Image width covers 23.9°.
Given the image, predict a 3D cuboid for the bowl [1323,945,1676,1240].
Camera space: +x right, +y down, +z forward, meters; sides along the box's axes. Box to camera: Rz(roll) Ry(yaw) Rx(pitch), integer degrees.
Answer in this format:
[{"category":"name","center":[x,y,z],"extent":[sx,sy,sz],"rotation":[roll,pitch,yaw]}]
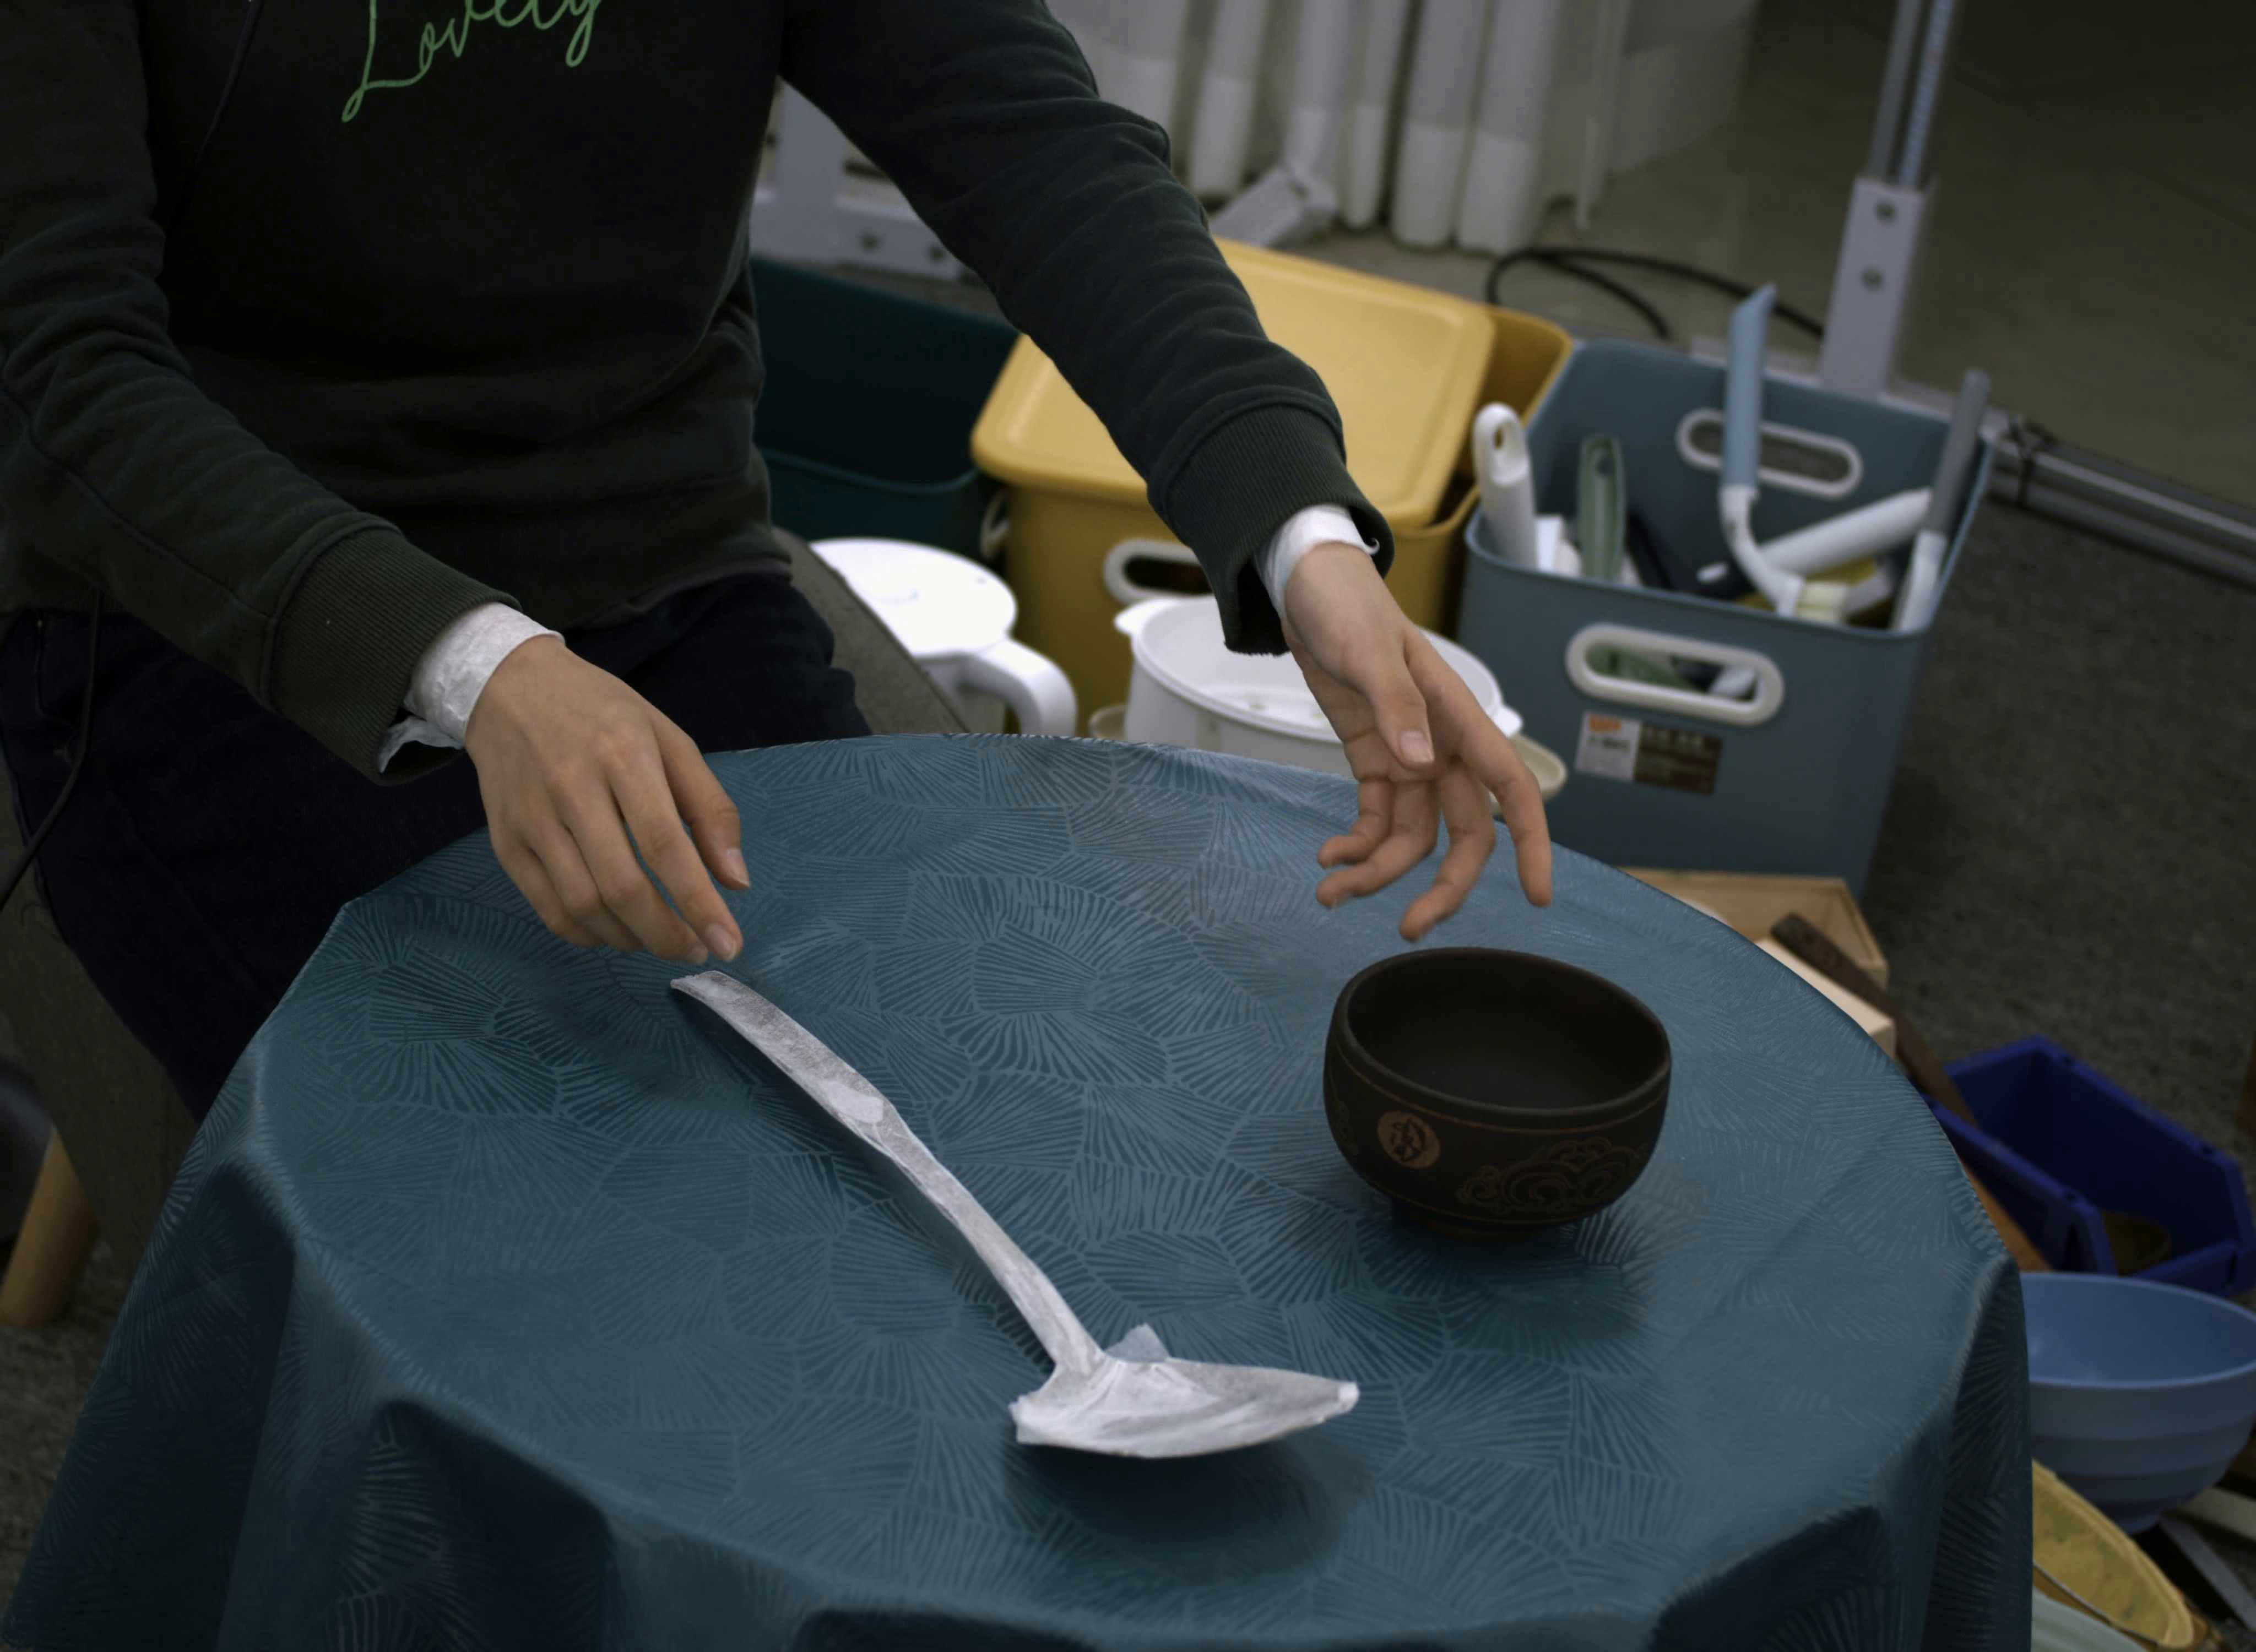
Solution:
[{"category":"bowl","center":[0.123,0.097,1.802],"extent":[0.117,0.069,0.119],"rotation":[6,25,-3]}]

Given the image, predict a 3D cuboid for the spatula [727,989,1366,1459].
[{"category":"spatula","center":[-0.051,0.122,1.749],"extent":[0.098,0.044,0.368],"rotation":[-11,32,-28]}]
